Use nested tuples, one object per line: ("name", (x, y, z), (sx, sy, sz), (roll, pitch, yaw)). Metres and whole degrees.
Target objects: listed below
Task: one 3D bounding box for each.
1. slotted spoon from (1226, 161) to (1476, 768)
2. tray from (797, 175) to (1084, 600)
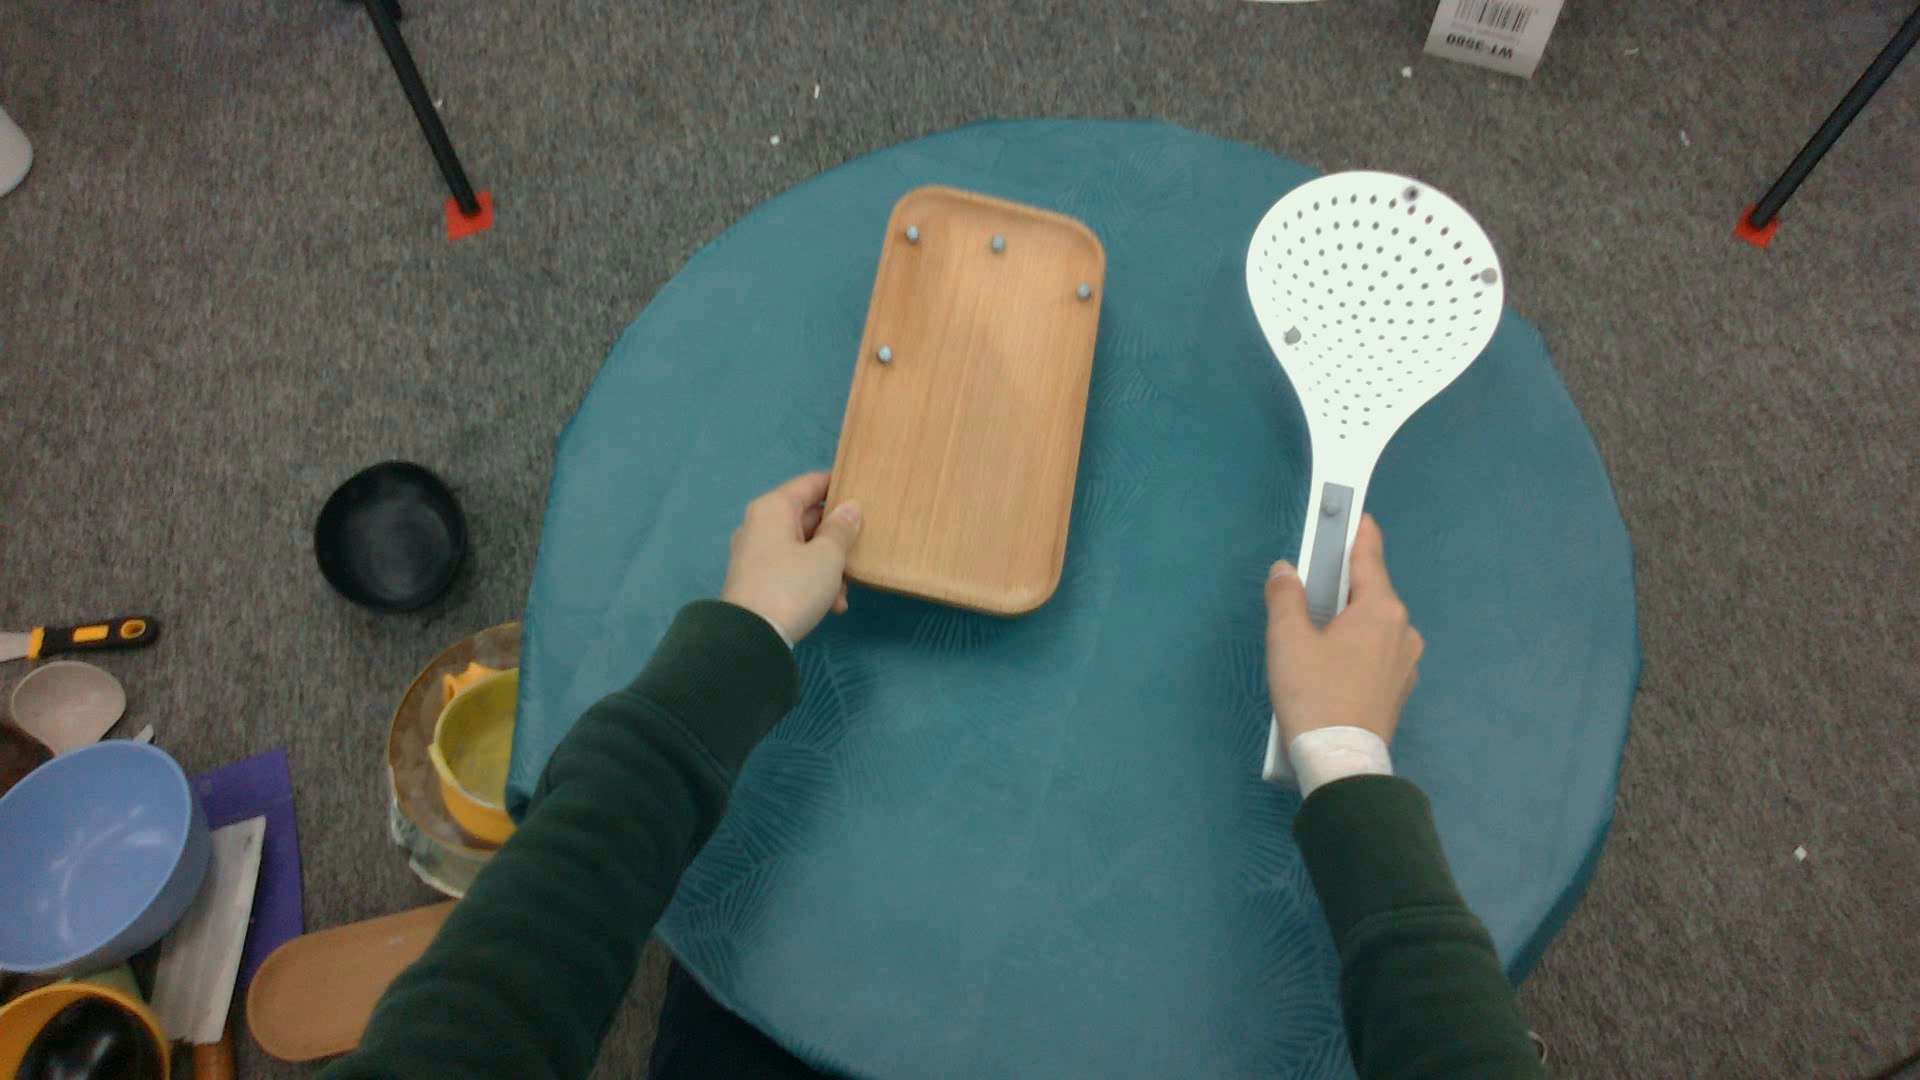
("slotted spoon", (0.187, -0.051, 0.715), (0.136, 0.045, 0.351), (13, 63, 5))
("tray", (-0.006, -0.089, 0.749), (0.130, 0.023, 0.251), (12, 65, -4))
